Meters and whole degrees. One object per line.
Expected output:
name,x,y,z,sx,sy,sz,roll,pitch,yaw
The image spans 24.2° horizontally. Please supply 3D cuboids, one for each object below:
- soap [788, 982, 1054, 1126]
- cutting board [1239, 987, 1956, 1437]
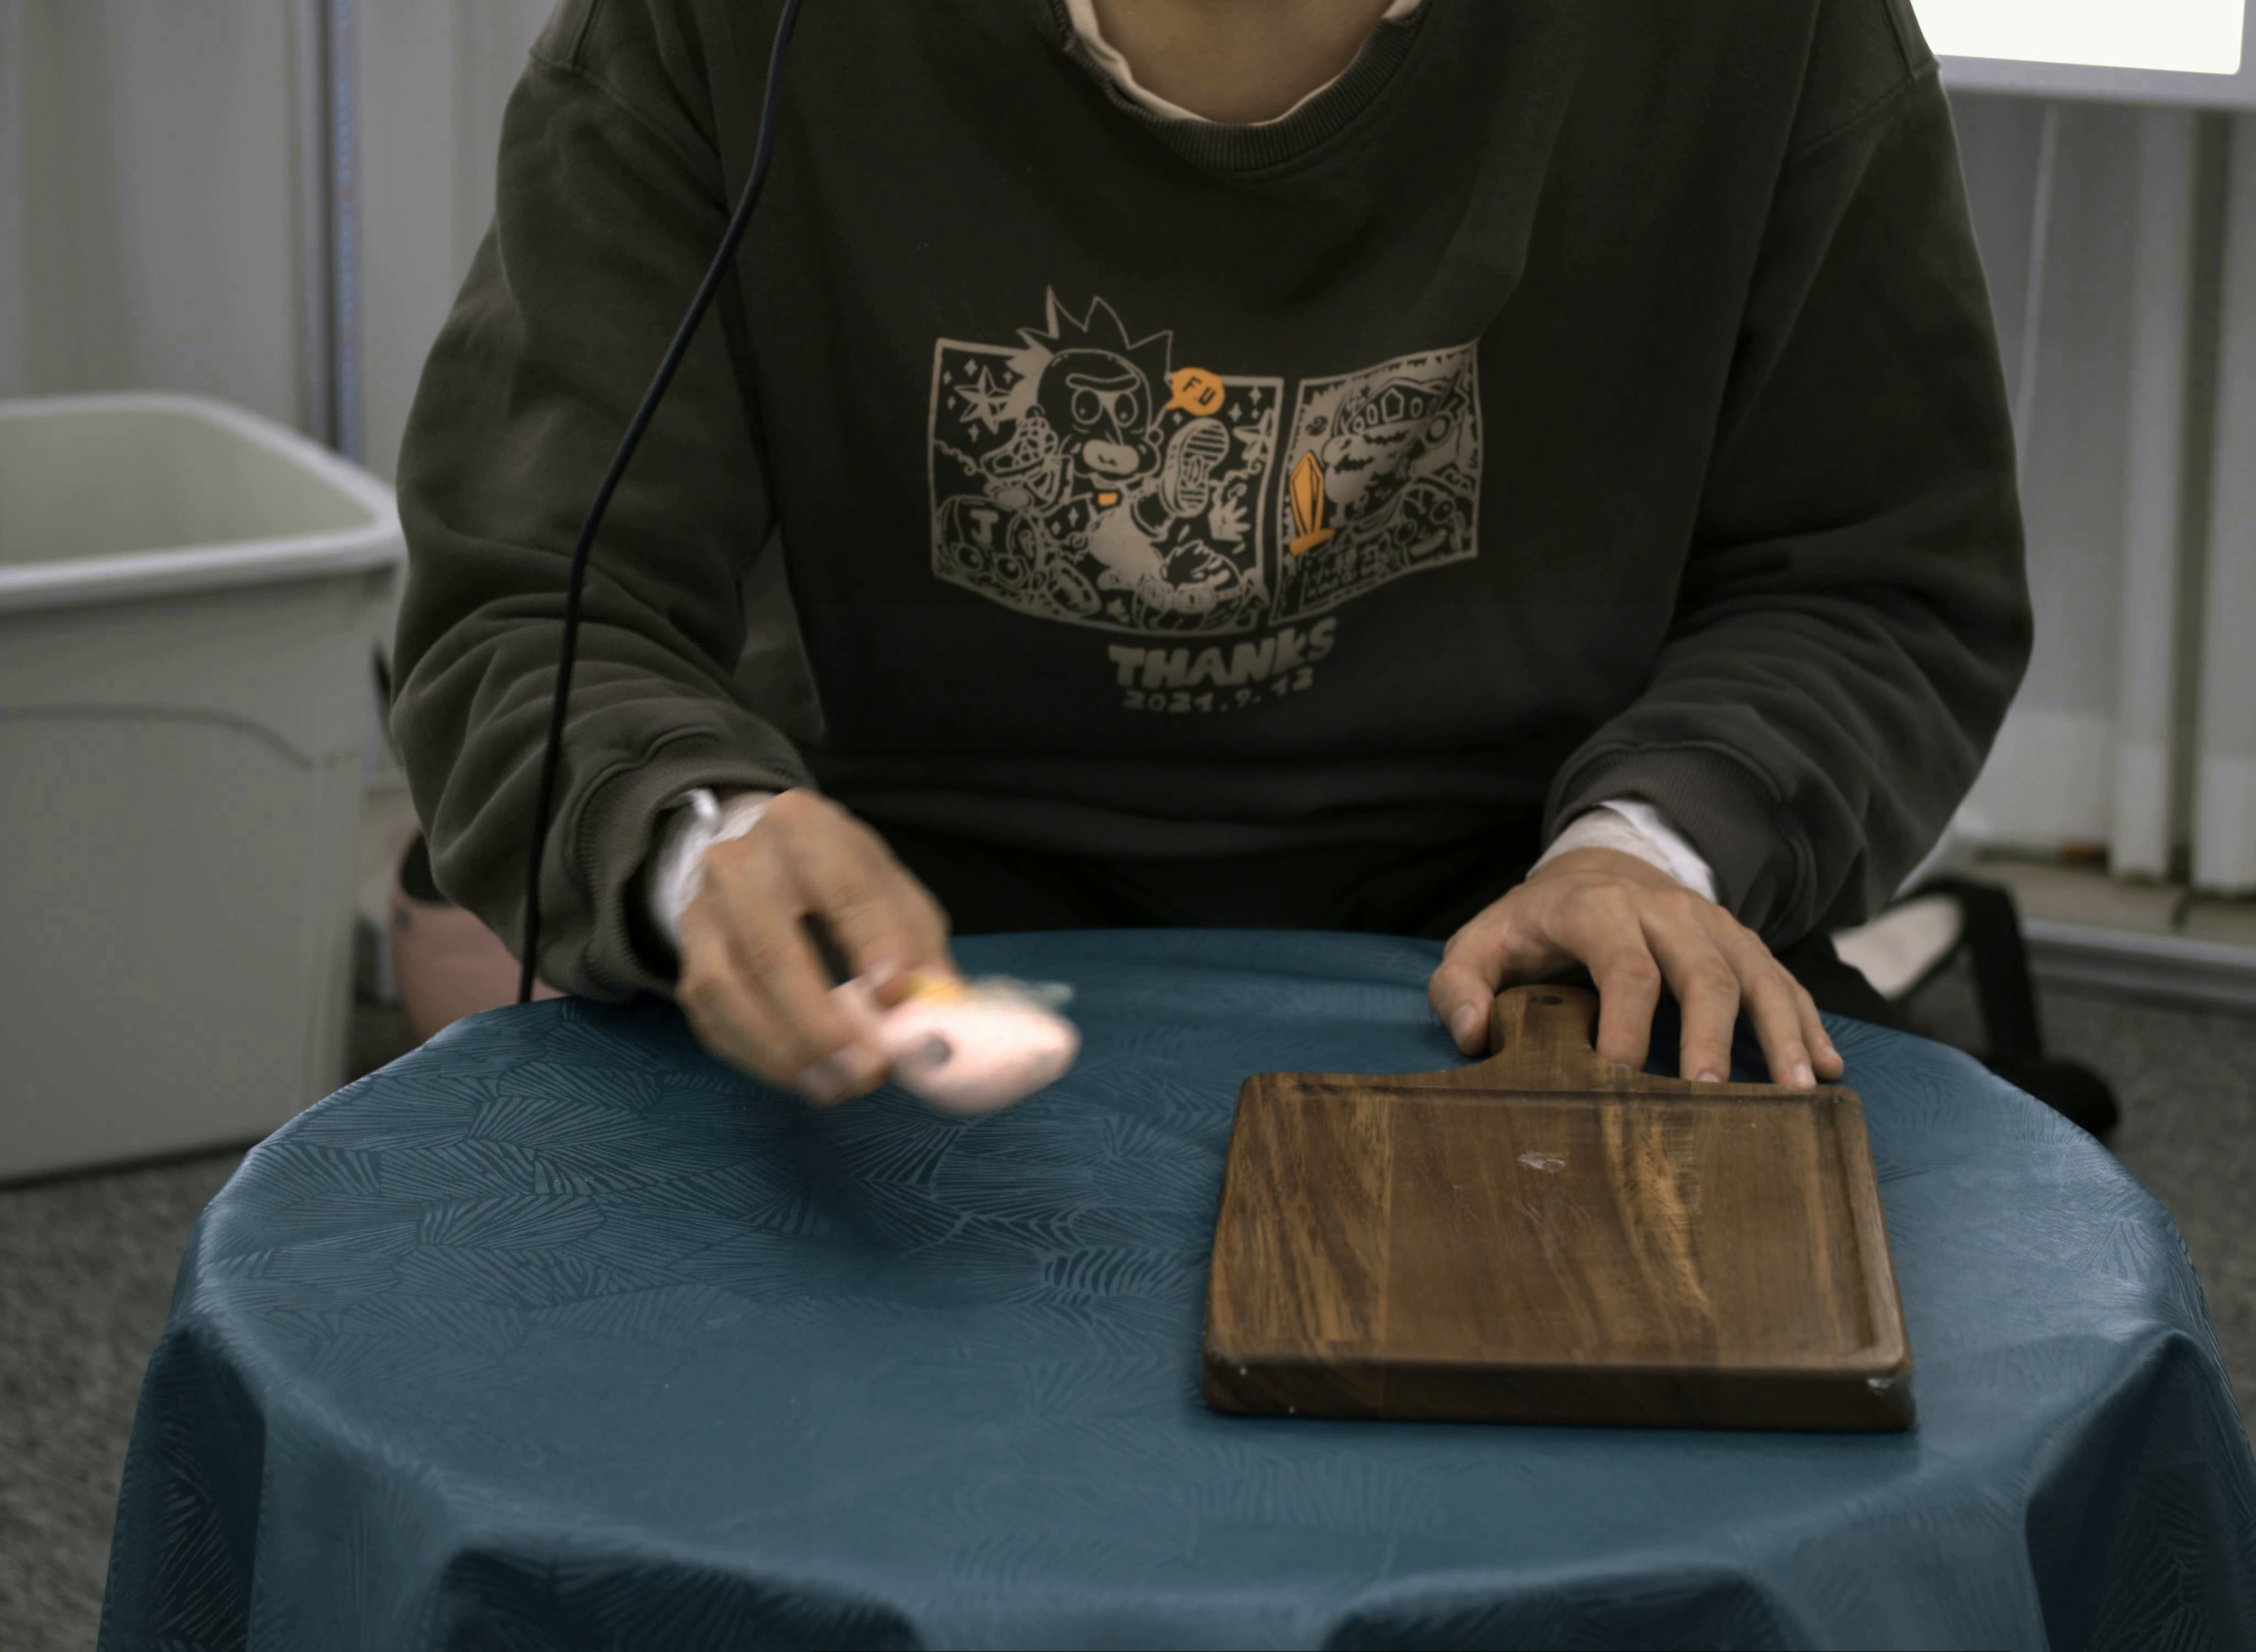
soap,-0.062,0.068,1.572,0.050,0.030,0.093,-14,16,-33
cutting board,0.140,0.110,1.605,0.200,0.023,0.351,2,15,4
